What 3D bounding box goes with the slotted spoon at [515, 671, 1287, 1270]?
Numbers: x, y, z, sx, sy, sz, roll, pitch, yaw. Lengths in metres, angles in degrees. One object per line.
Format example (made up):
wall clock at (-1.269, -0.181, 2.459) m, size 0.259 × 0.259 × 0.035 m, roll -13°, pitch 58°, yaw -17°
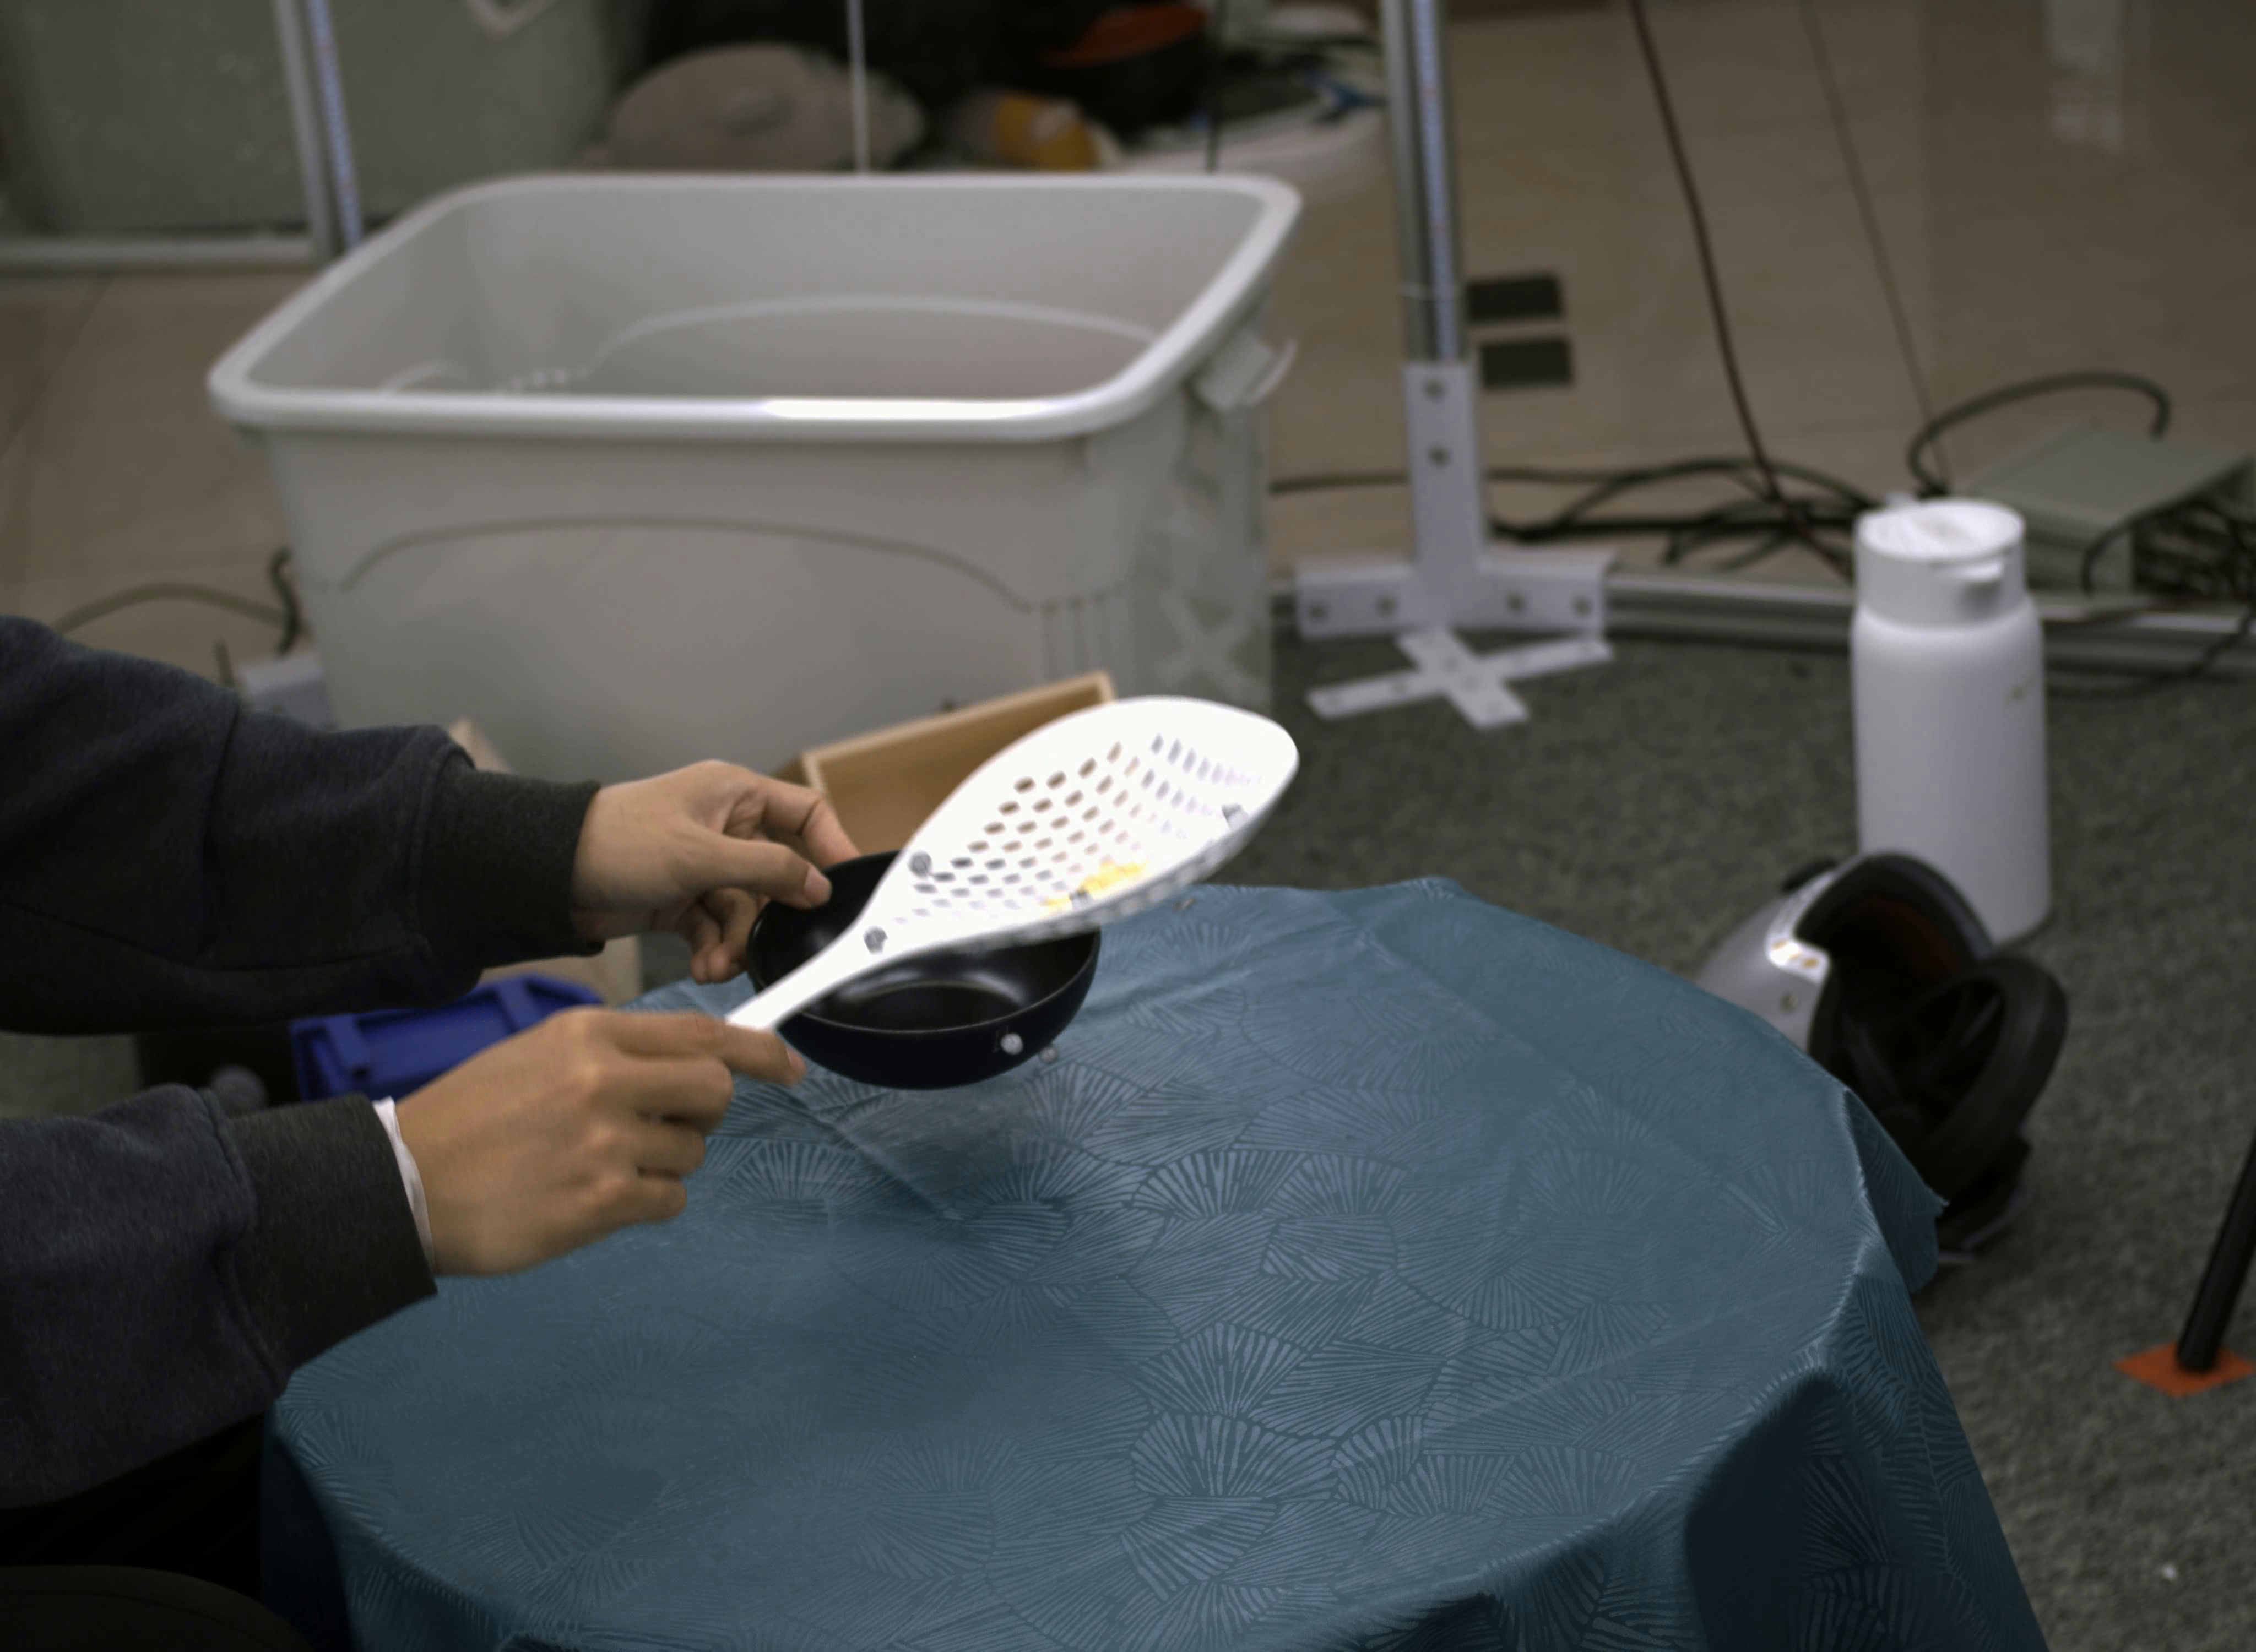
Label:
slotted spoon at (-0.086, 0.047, 1.986) m, size 0.345 × 0.051 × 0.135 m, roll -32°, pitch 32°, yaw -29°
